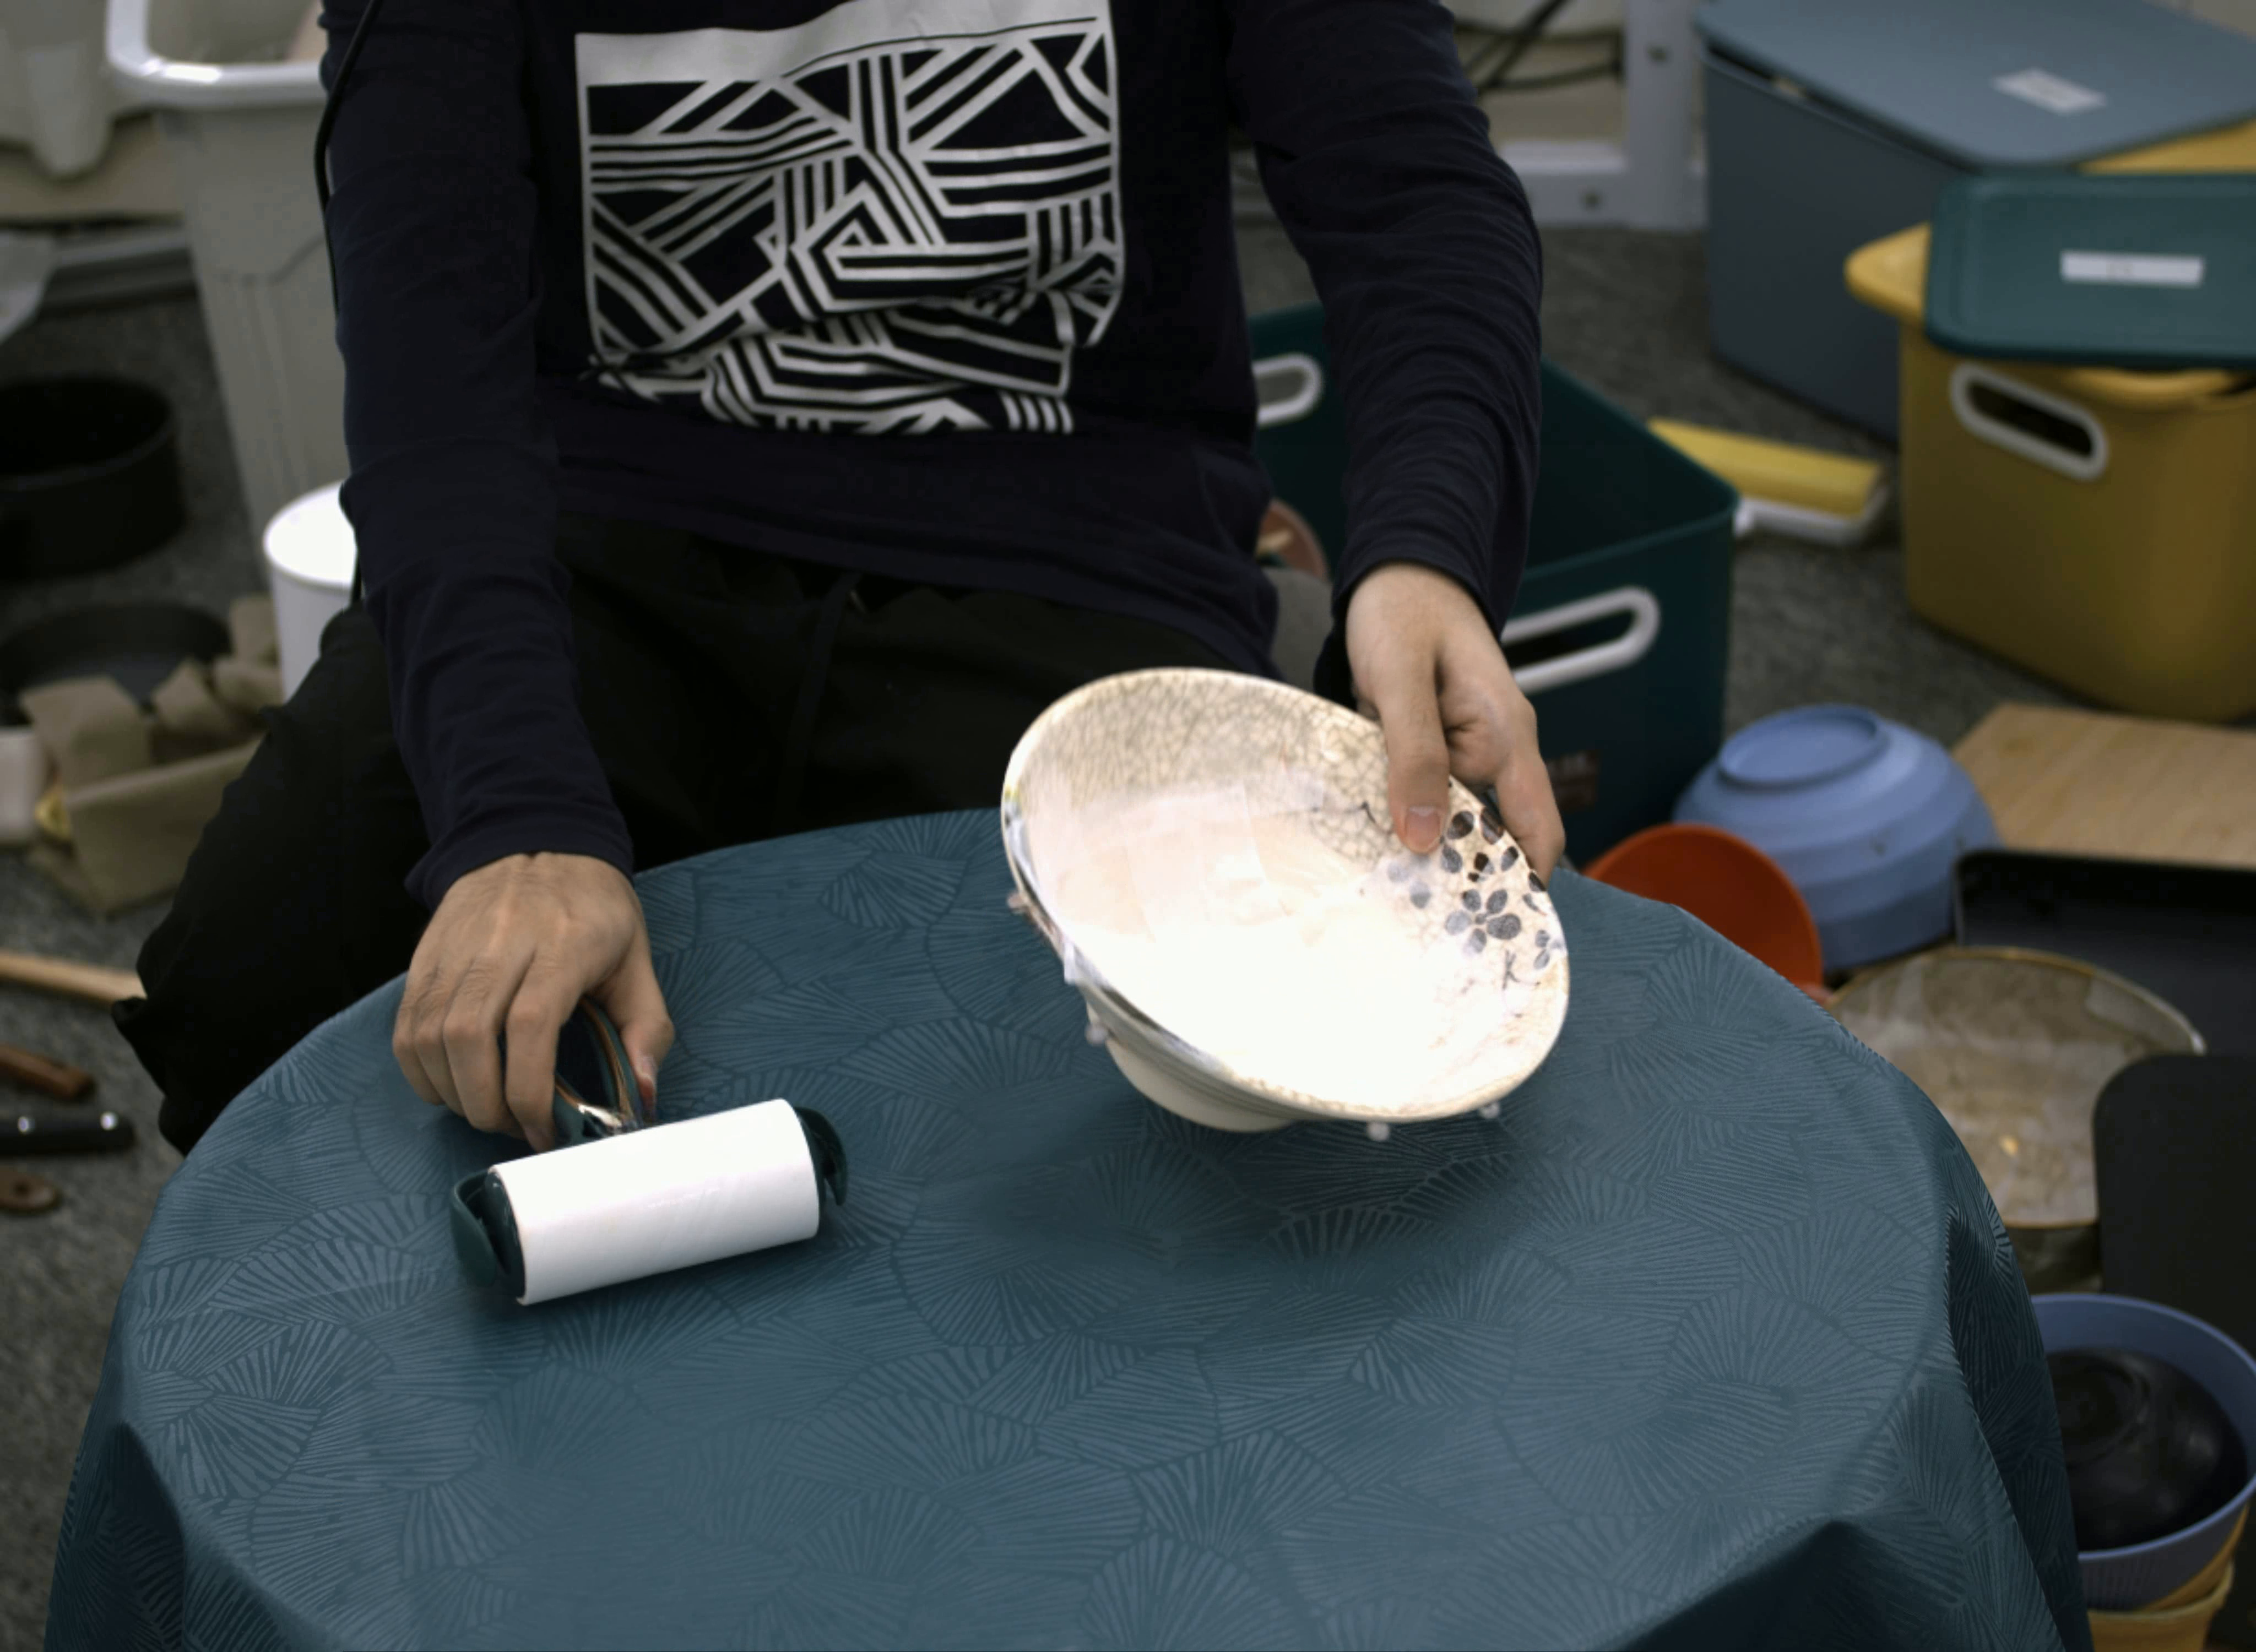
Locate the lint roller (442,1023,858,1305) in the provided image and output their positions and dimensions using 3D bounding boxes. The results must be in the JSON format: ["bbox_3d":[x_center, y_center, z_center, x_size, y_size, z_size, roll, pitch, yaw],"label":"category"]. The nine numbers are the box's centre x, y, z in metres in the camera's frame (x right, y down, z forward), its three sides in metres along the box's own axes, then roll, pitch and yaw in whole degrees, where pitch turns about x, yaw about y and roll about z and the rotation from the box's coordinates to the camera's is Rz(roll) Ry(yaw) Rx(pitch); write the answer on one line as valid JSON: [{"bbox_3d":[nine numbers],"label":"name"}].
[{"bbox_3d":[-0.178,0.092,1.878,0.134,0.048,0.182,-12,30,-17],"label":"lint roller"}]

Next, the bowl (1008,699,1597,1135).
[{"bbox_3d":[0.049,0.046,1.874,0.203,0.077,0.207,13,31,-8],"label":"bowl"}]
